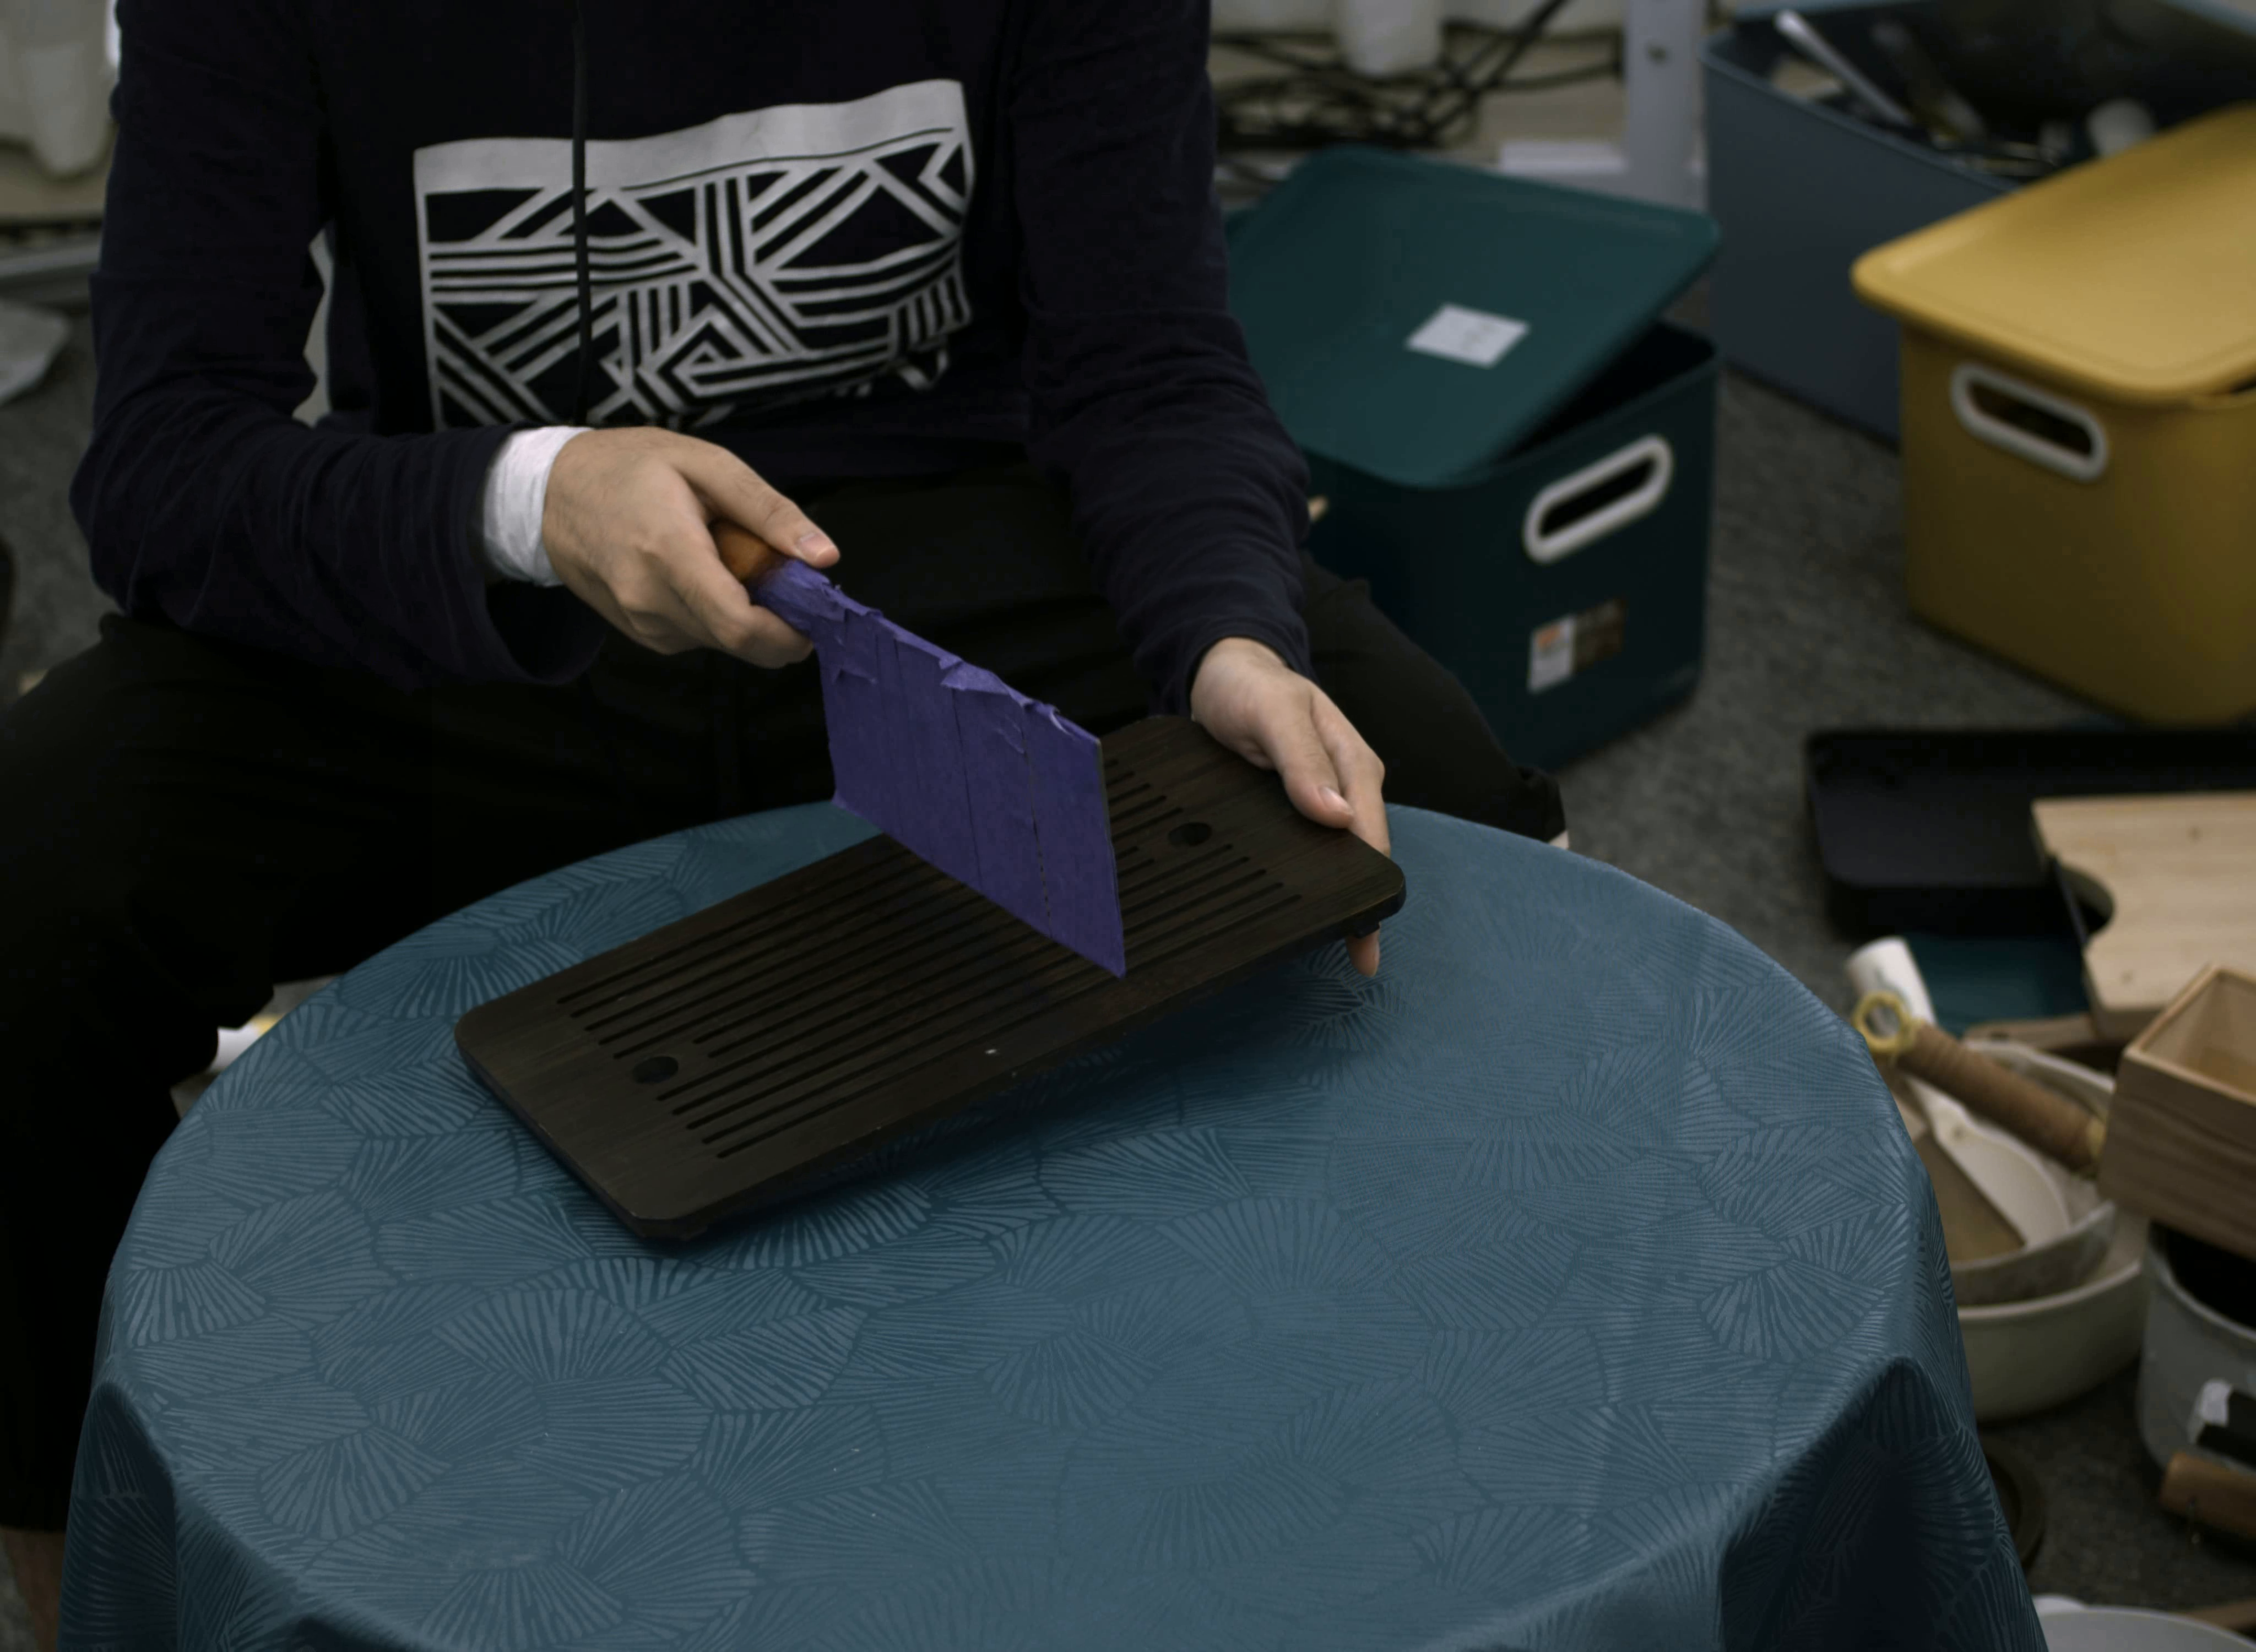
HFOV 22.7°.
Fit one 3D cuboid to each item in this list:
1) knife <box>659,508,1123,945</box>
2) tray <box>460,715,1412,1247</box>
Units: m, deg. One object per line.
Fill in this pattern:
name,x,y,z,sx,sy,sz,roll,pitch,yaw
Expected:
knife,-0.087,-0.035,1.984,0.032,0.103,0.316,-15,23,-24
tray,-0.066,0.052,1.949,0.308,0.018,0.171,-24,33,-23
